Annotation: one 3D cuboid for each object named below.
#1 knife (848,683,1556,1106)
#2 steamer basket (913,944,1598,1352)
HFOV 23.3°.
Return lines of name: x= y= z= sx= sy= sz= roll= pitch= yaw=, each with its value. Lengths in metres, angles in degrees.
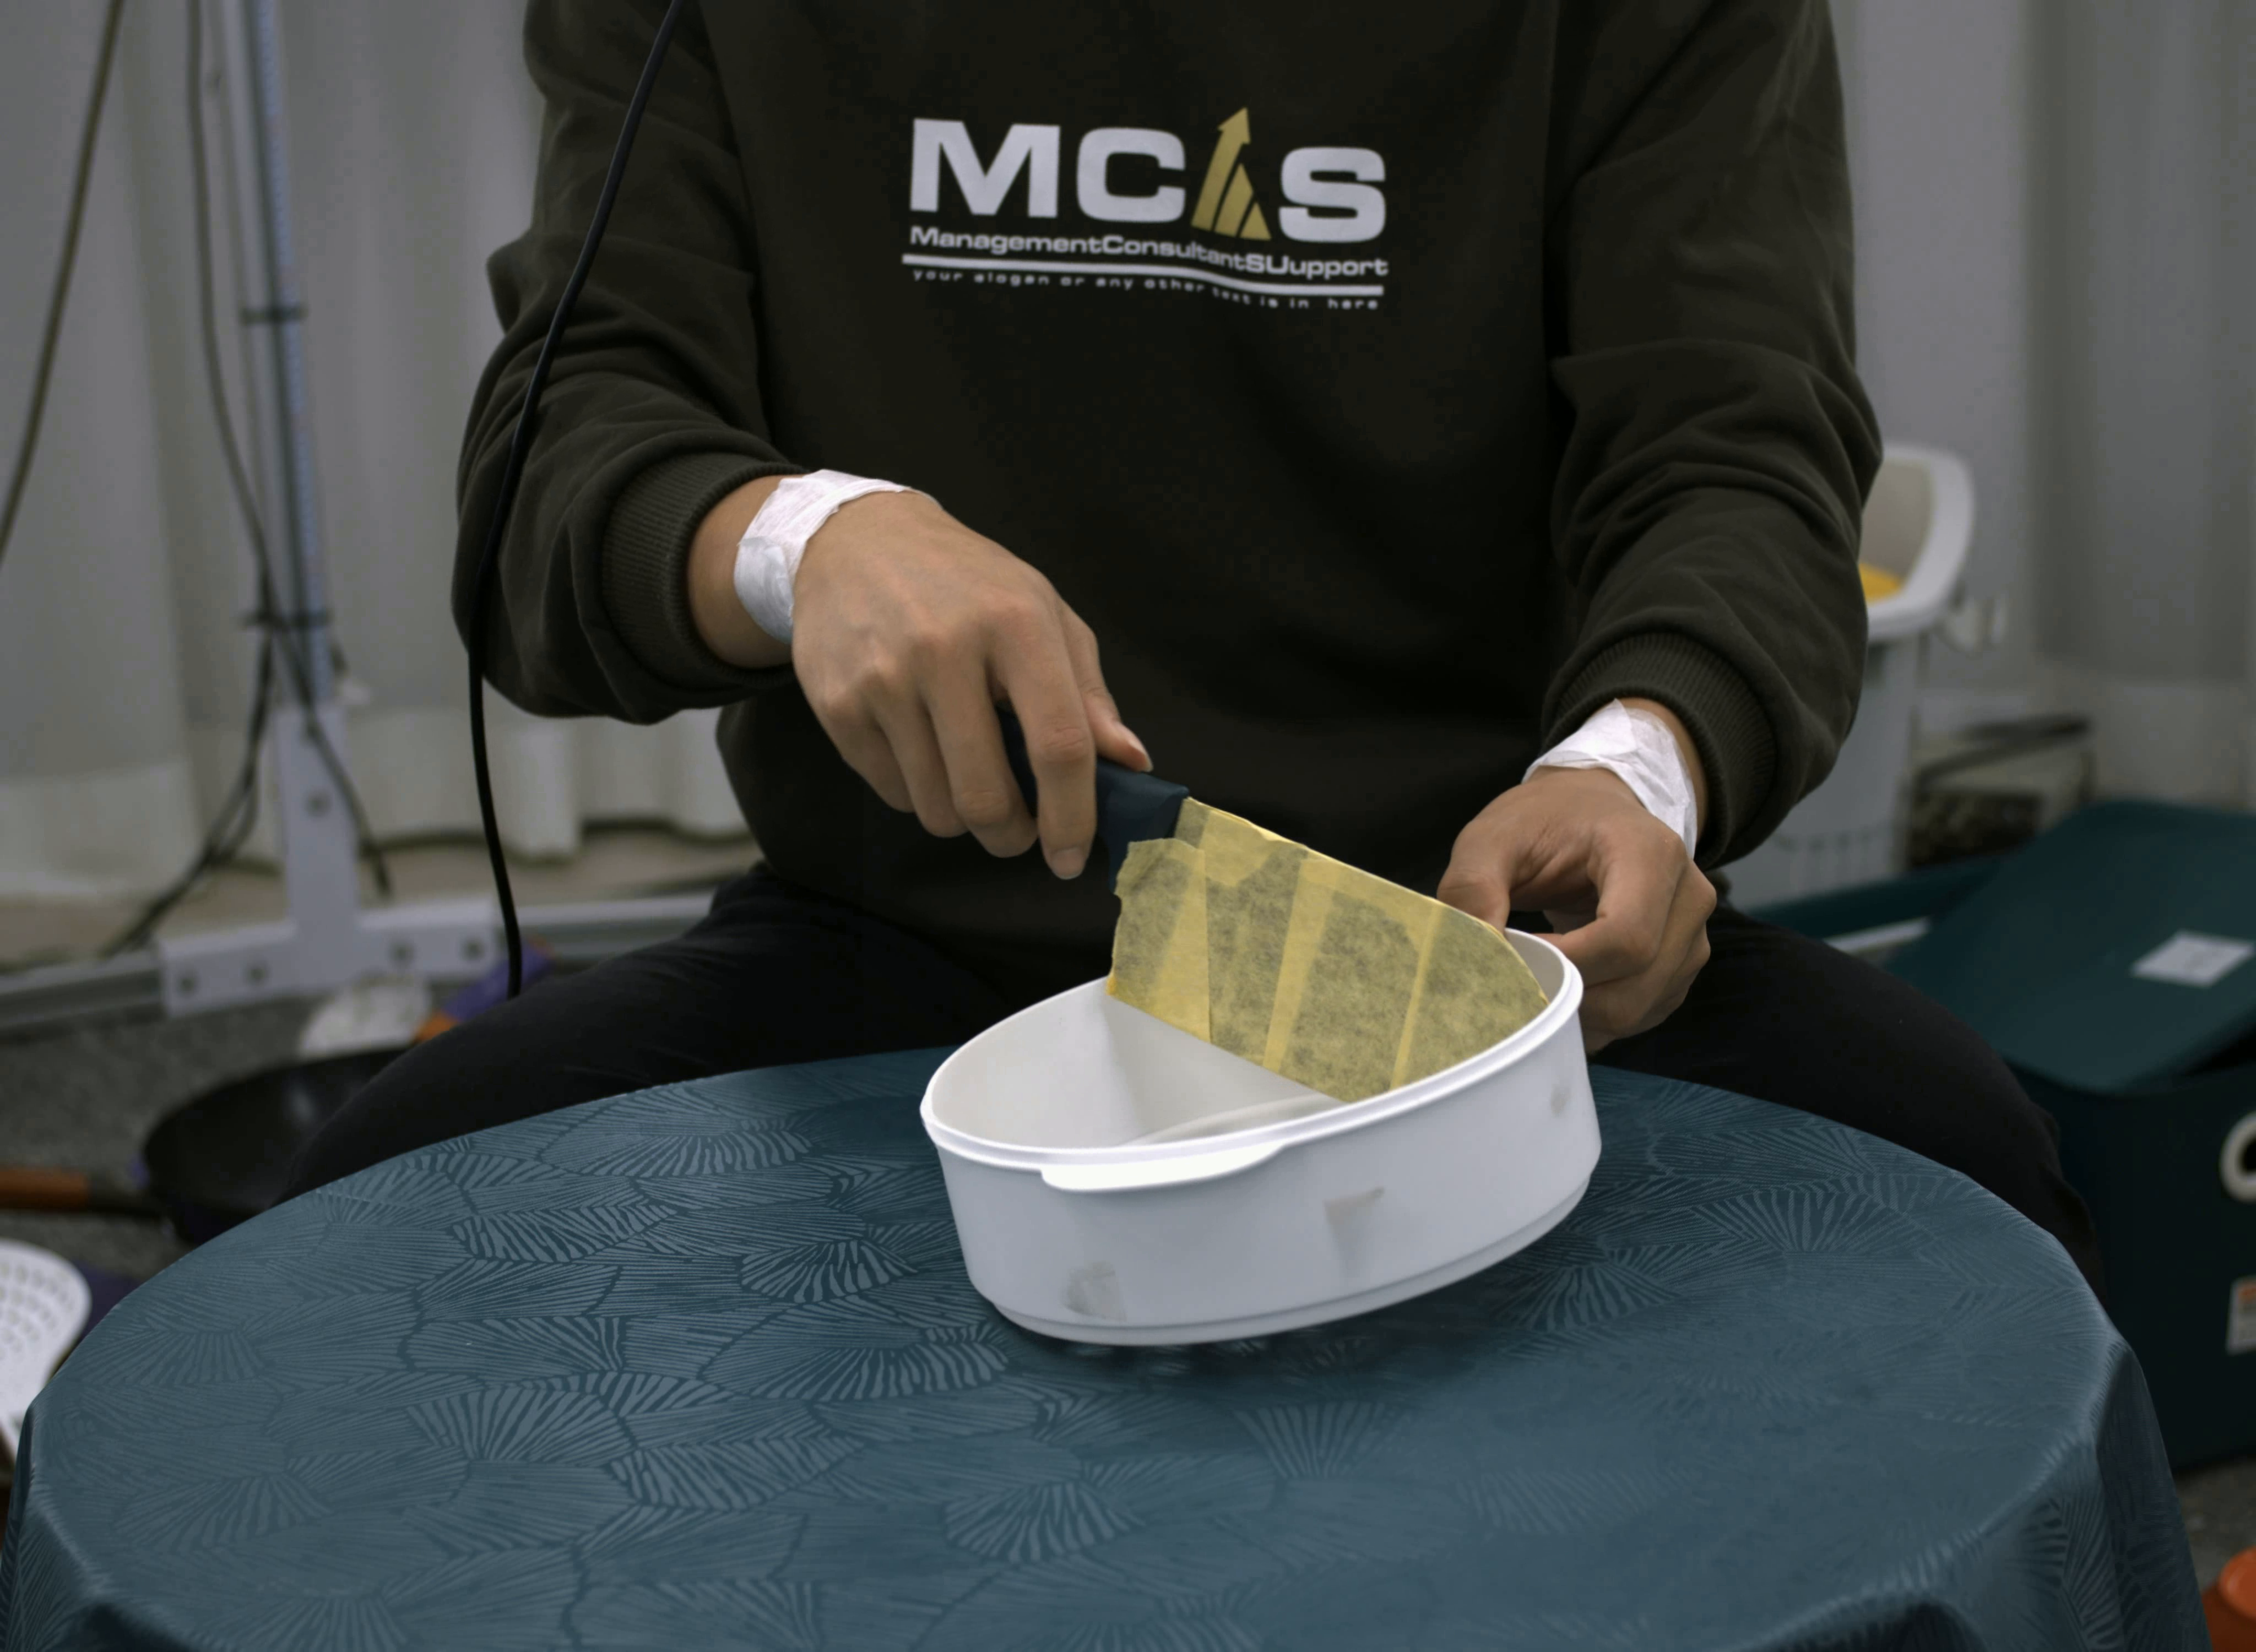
knife: x=0.022 y=0.026 z=1.681 sx=0.292 sy=0.081 sz=0.027 roll=27 pitch=19 yaw=32
steamer basket: x=0.040 y=0.094 z=1.622 sx=0.201 sy=0.069 sz=0.231 roll=-6 pitch=14 yaw=19
